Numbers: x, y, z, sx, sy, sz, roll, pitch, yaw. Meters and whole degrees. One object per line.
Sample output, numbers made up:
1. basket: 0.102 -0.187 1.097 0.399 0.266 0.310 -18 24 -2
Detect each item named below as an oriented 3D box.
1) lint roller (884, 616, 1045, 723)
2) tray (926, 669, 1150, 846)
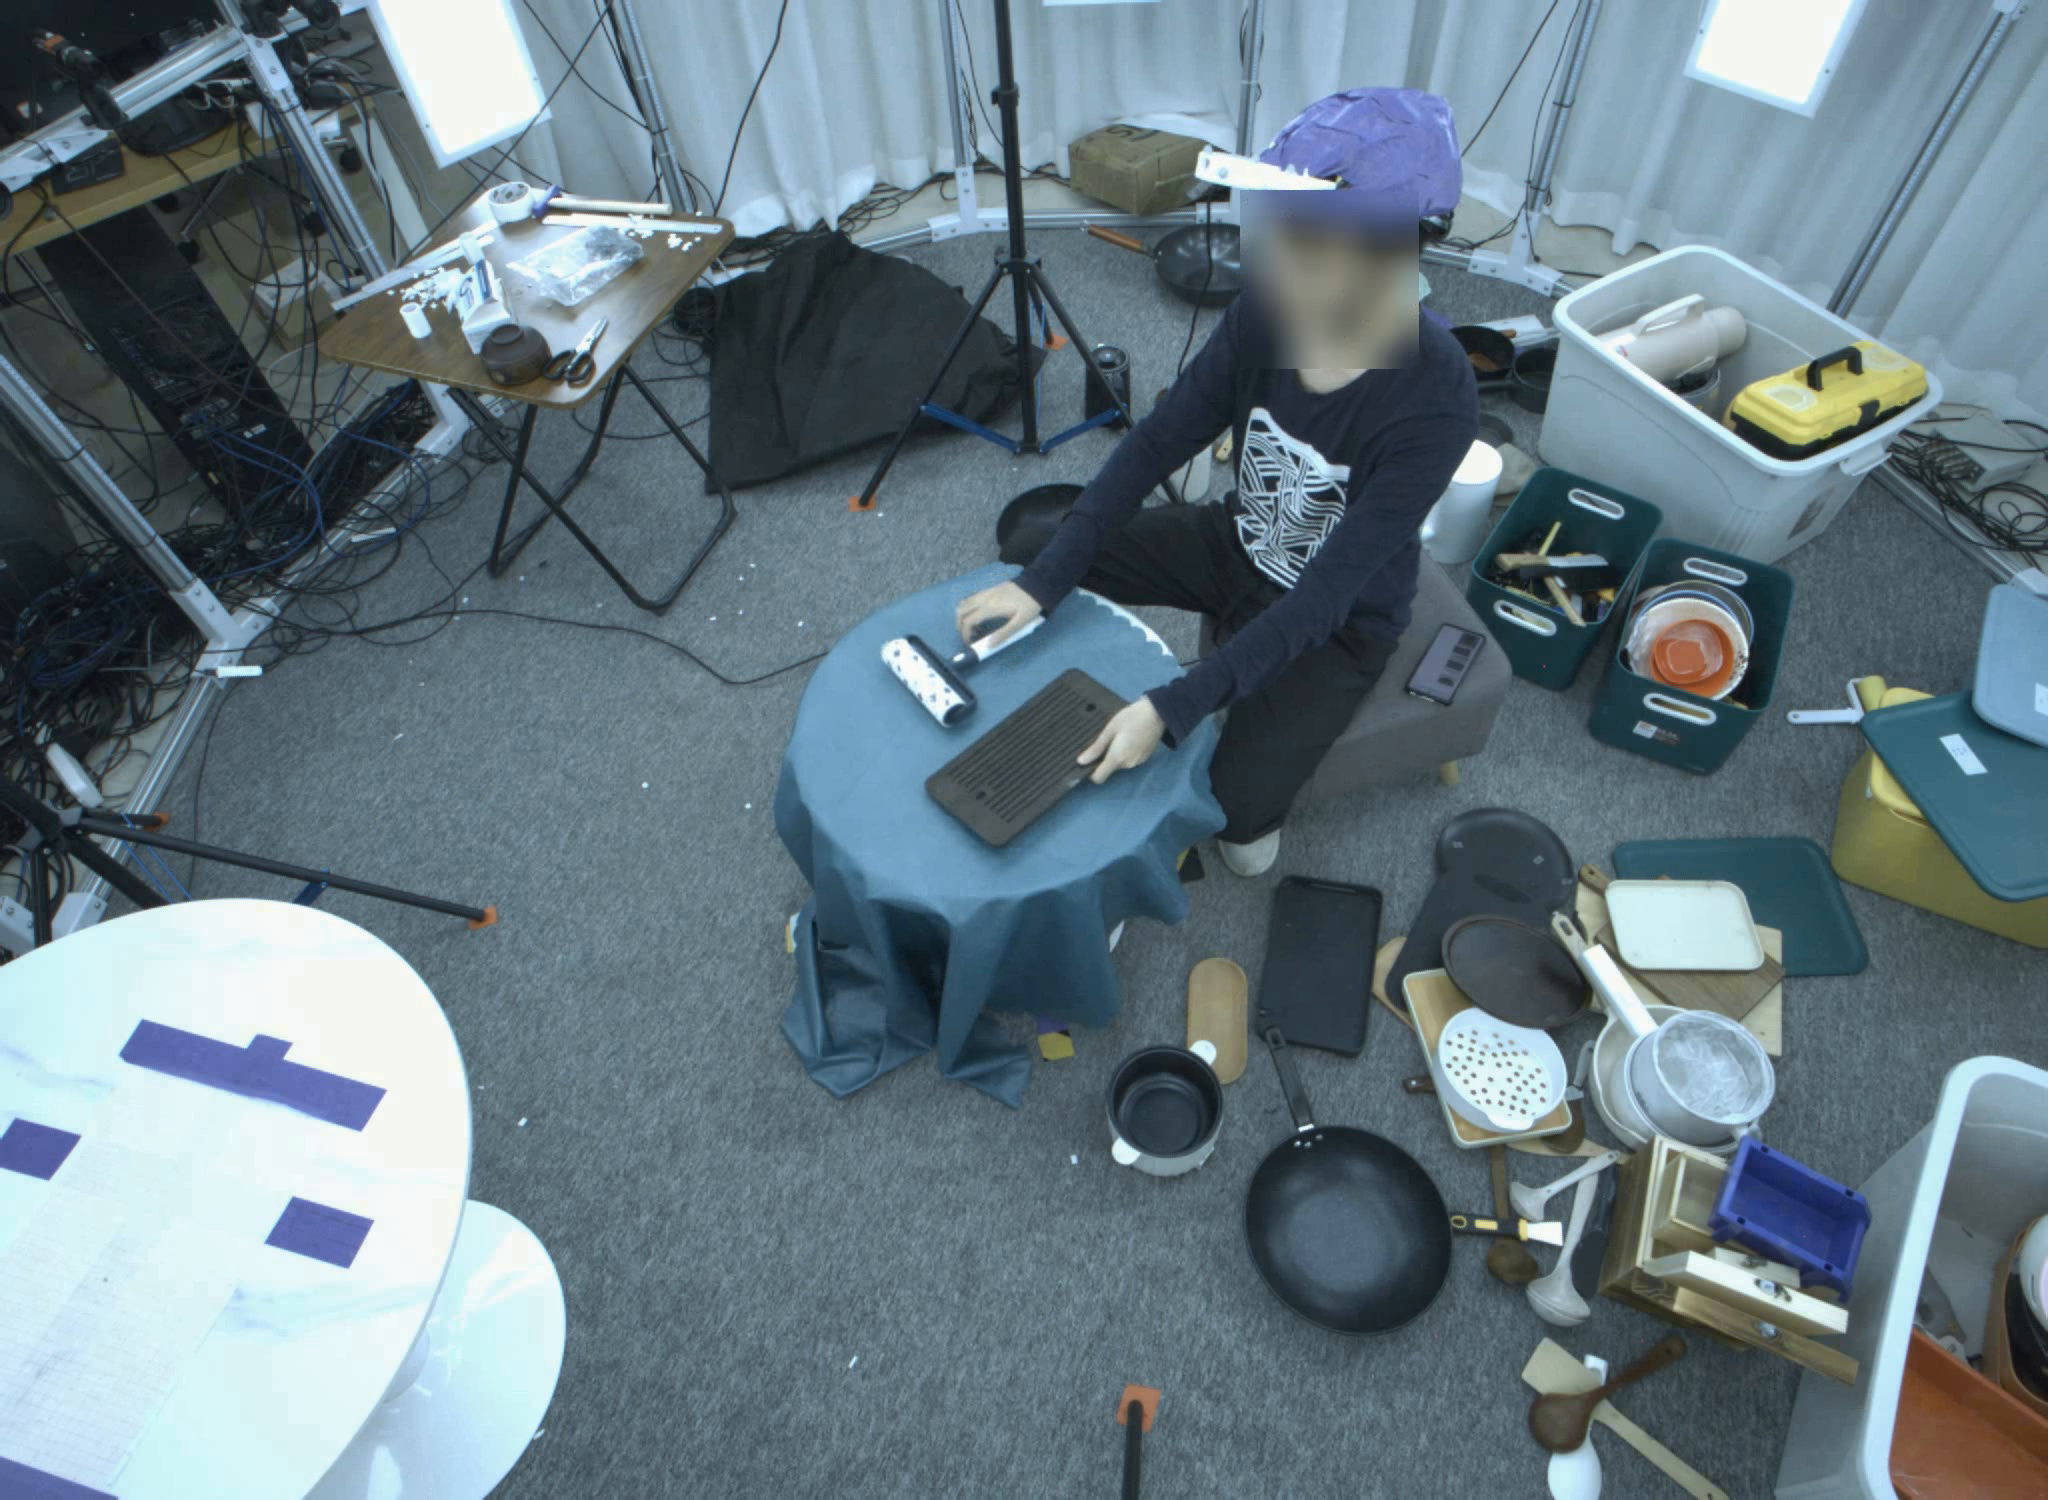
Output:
1. lint roller: -0.070 -0.153 1.882 0.249 0.051 0.173 -32 59 -23
2. tray: 0.022 0.006 1.764 0.308 0.019 0.166 -38 54 -22
